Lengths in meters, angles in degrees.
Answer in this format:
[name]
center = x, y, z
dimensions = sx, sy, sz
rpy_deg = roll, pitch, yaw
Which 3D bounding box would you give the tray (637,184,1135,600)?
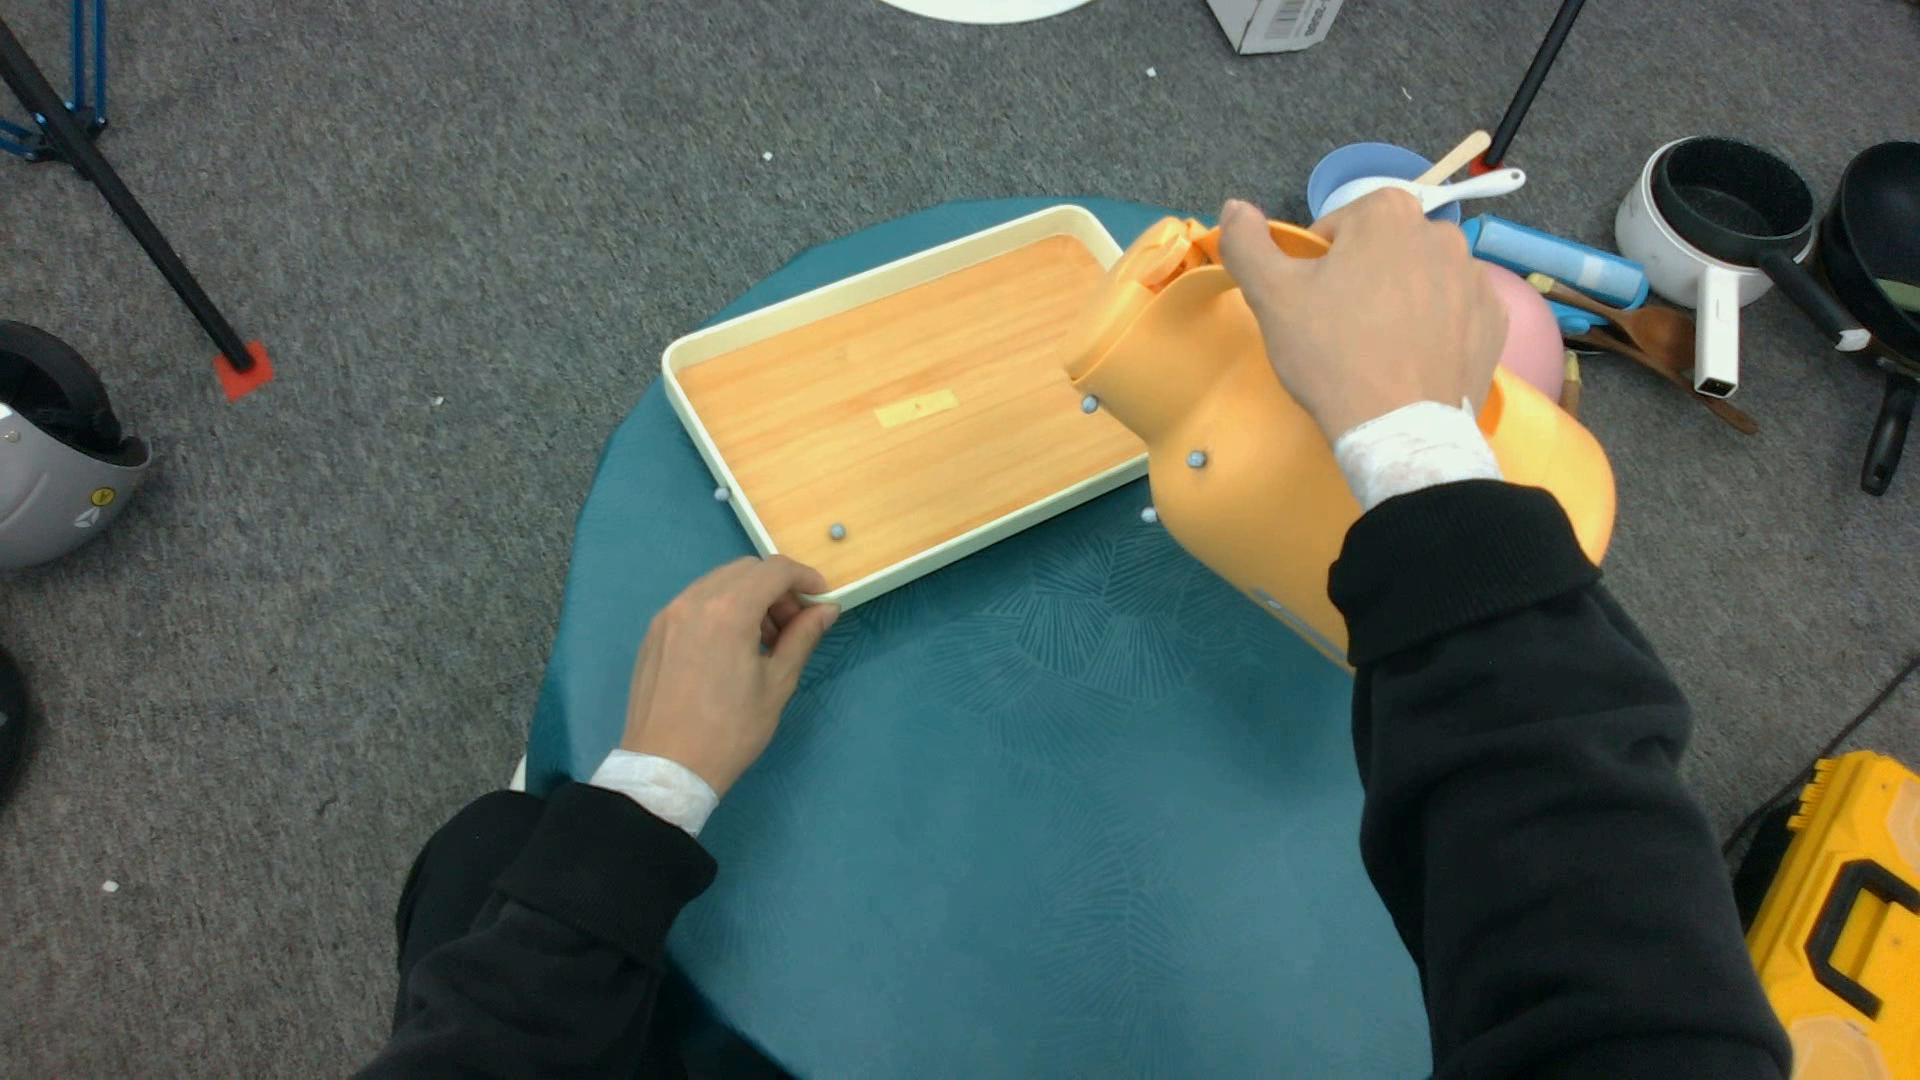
[tray]
center = -0.015, -0.098, 0.810
dimensions = 0.301, 0.027, 0.192
rpy_deg = -25, 66, -22

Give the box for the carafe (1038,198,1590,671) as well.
[carafe]
center = 0.168, -0.061, 0.658
dimensions = 0.260, 0.202, 0.164
rpy_deg = 33, 77, -9
